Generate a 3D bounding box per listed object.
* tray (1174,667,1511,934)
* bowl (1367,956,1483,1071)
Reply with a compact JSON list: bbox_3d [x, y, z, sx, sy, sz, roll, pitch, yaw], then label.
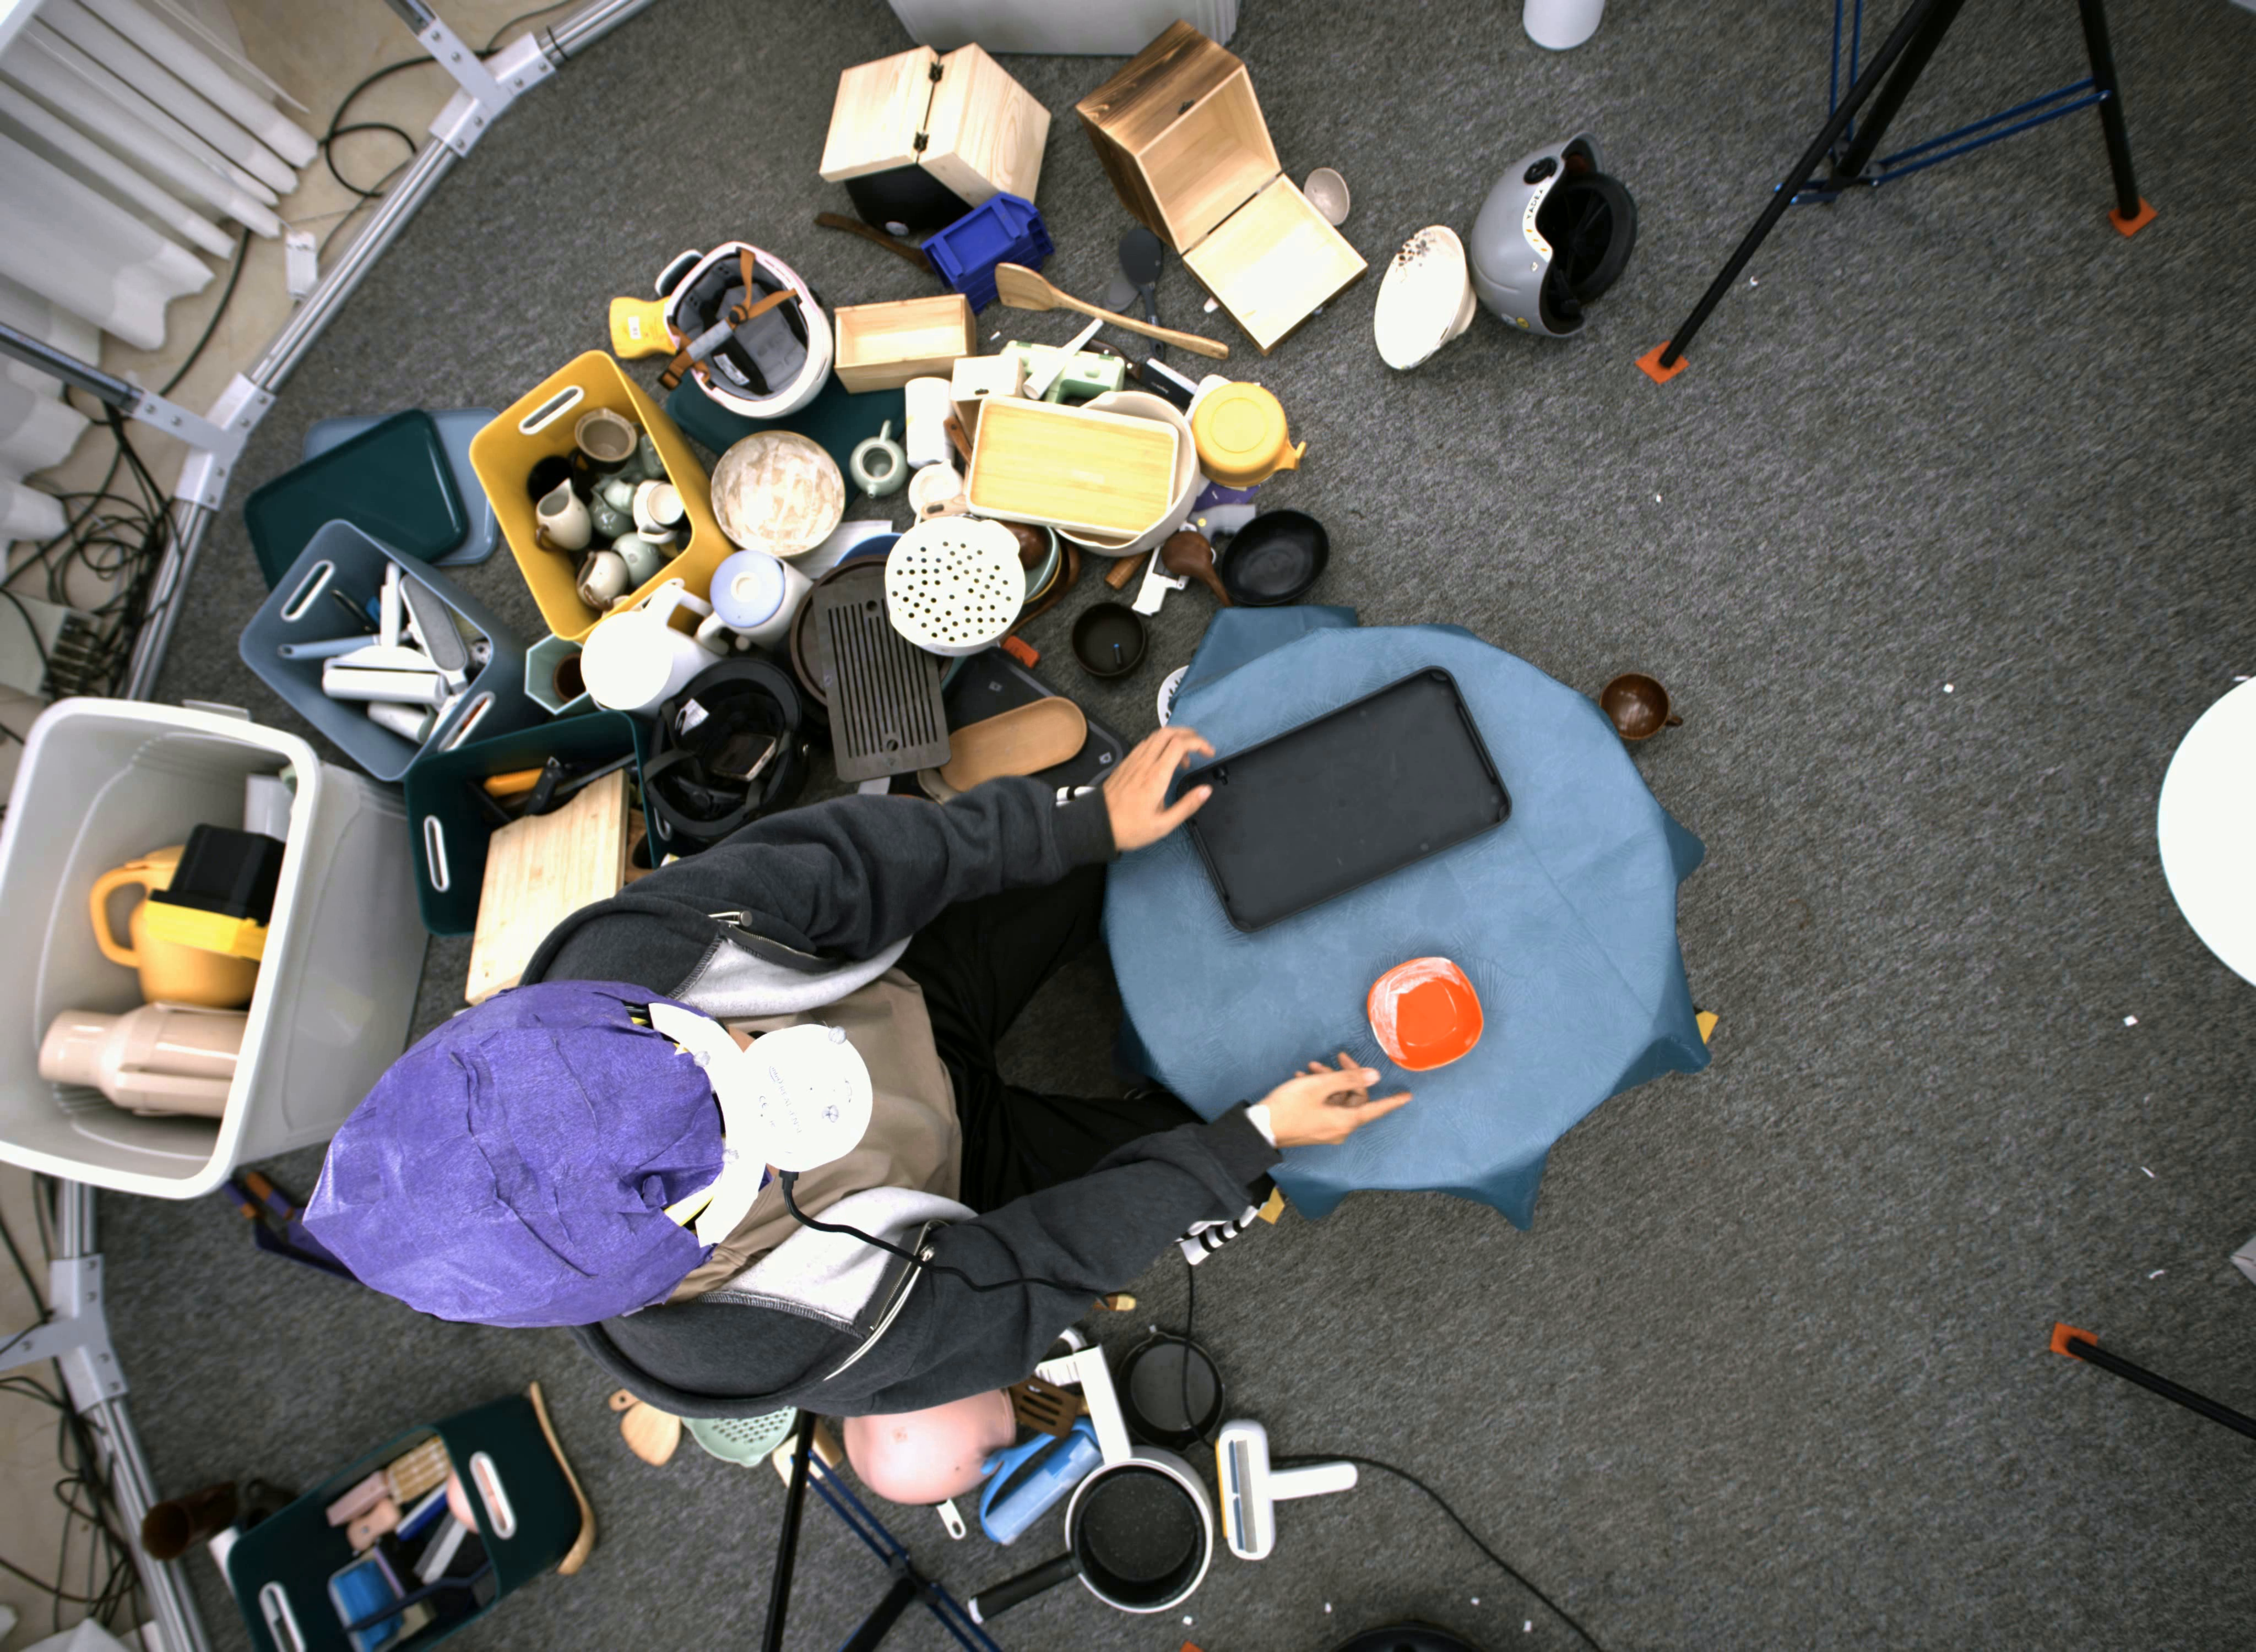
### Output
[{"bbox_3d":[0.223,-0.026,1.453,0.319,0.037,0.183,-24,83,7],"label":"tray"},{"bbox_3d":[0.303,0.190,1.418,0.119,0.051,0.118,-1,86,8],"label":"bowl"}]
